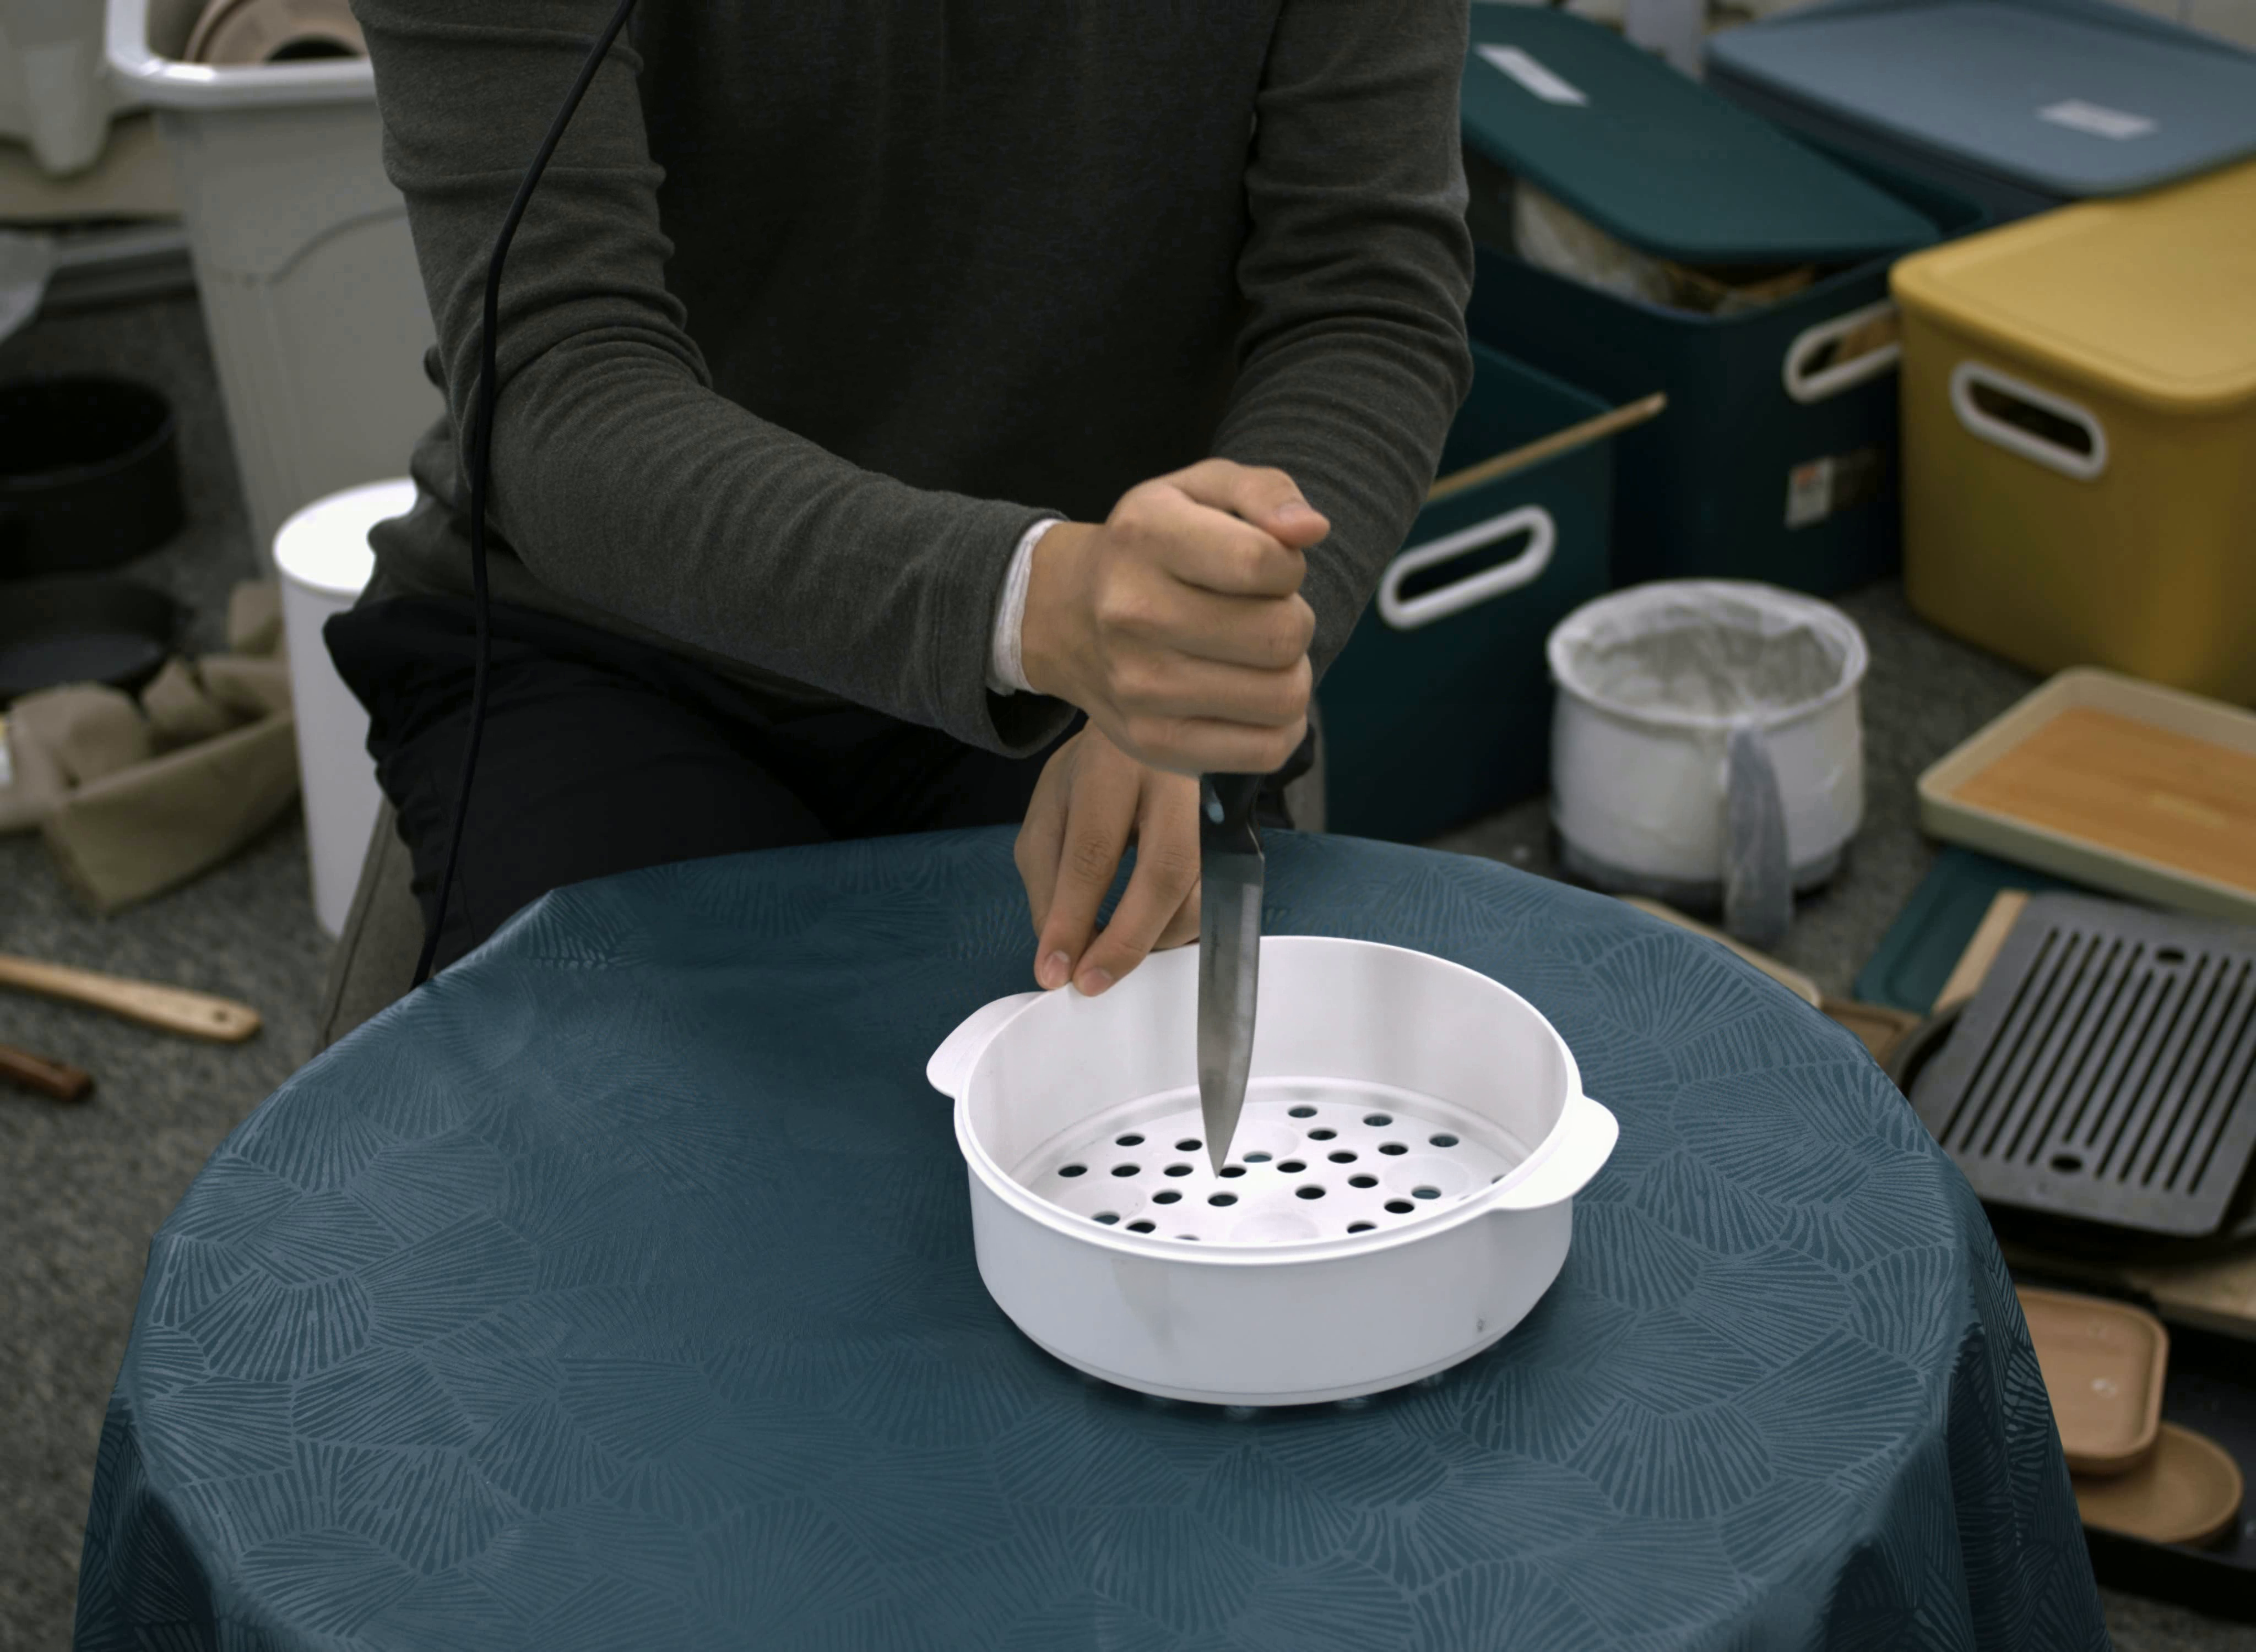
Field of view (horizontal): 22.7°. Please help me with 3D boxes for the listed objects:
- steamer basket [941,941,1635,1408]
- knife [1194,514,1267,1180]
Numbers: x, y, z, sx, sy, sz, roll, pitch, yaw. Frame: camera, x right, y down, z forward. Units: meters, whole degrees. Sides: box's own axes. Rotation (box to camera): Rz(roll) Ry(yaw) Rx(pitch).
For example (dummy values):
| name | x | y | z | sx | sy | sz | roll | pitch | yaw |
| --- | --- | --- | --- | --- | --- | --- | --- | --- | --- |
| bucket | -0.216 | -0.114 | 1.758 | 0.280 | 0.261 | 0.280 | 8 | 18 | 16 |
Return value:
| name | x | y | z | sx | sy | sz | roll | pitch | yaw |
| --- | --- | --- | --- | --- | --- | --- | --- | --- | --- |
| steamer basket | 0.050 | 0.112 | 1.803 | 0.229 | 0.068 | 0.205 | 10 | 29 | 25 |
| knife | 0.032 | 0.009 | 1.760 | 0.024 | 0.235 | 0.016 | 18 | 33 | 31 |
